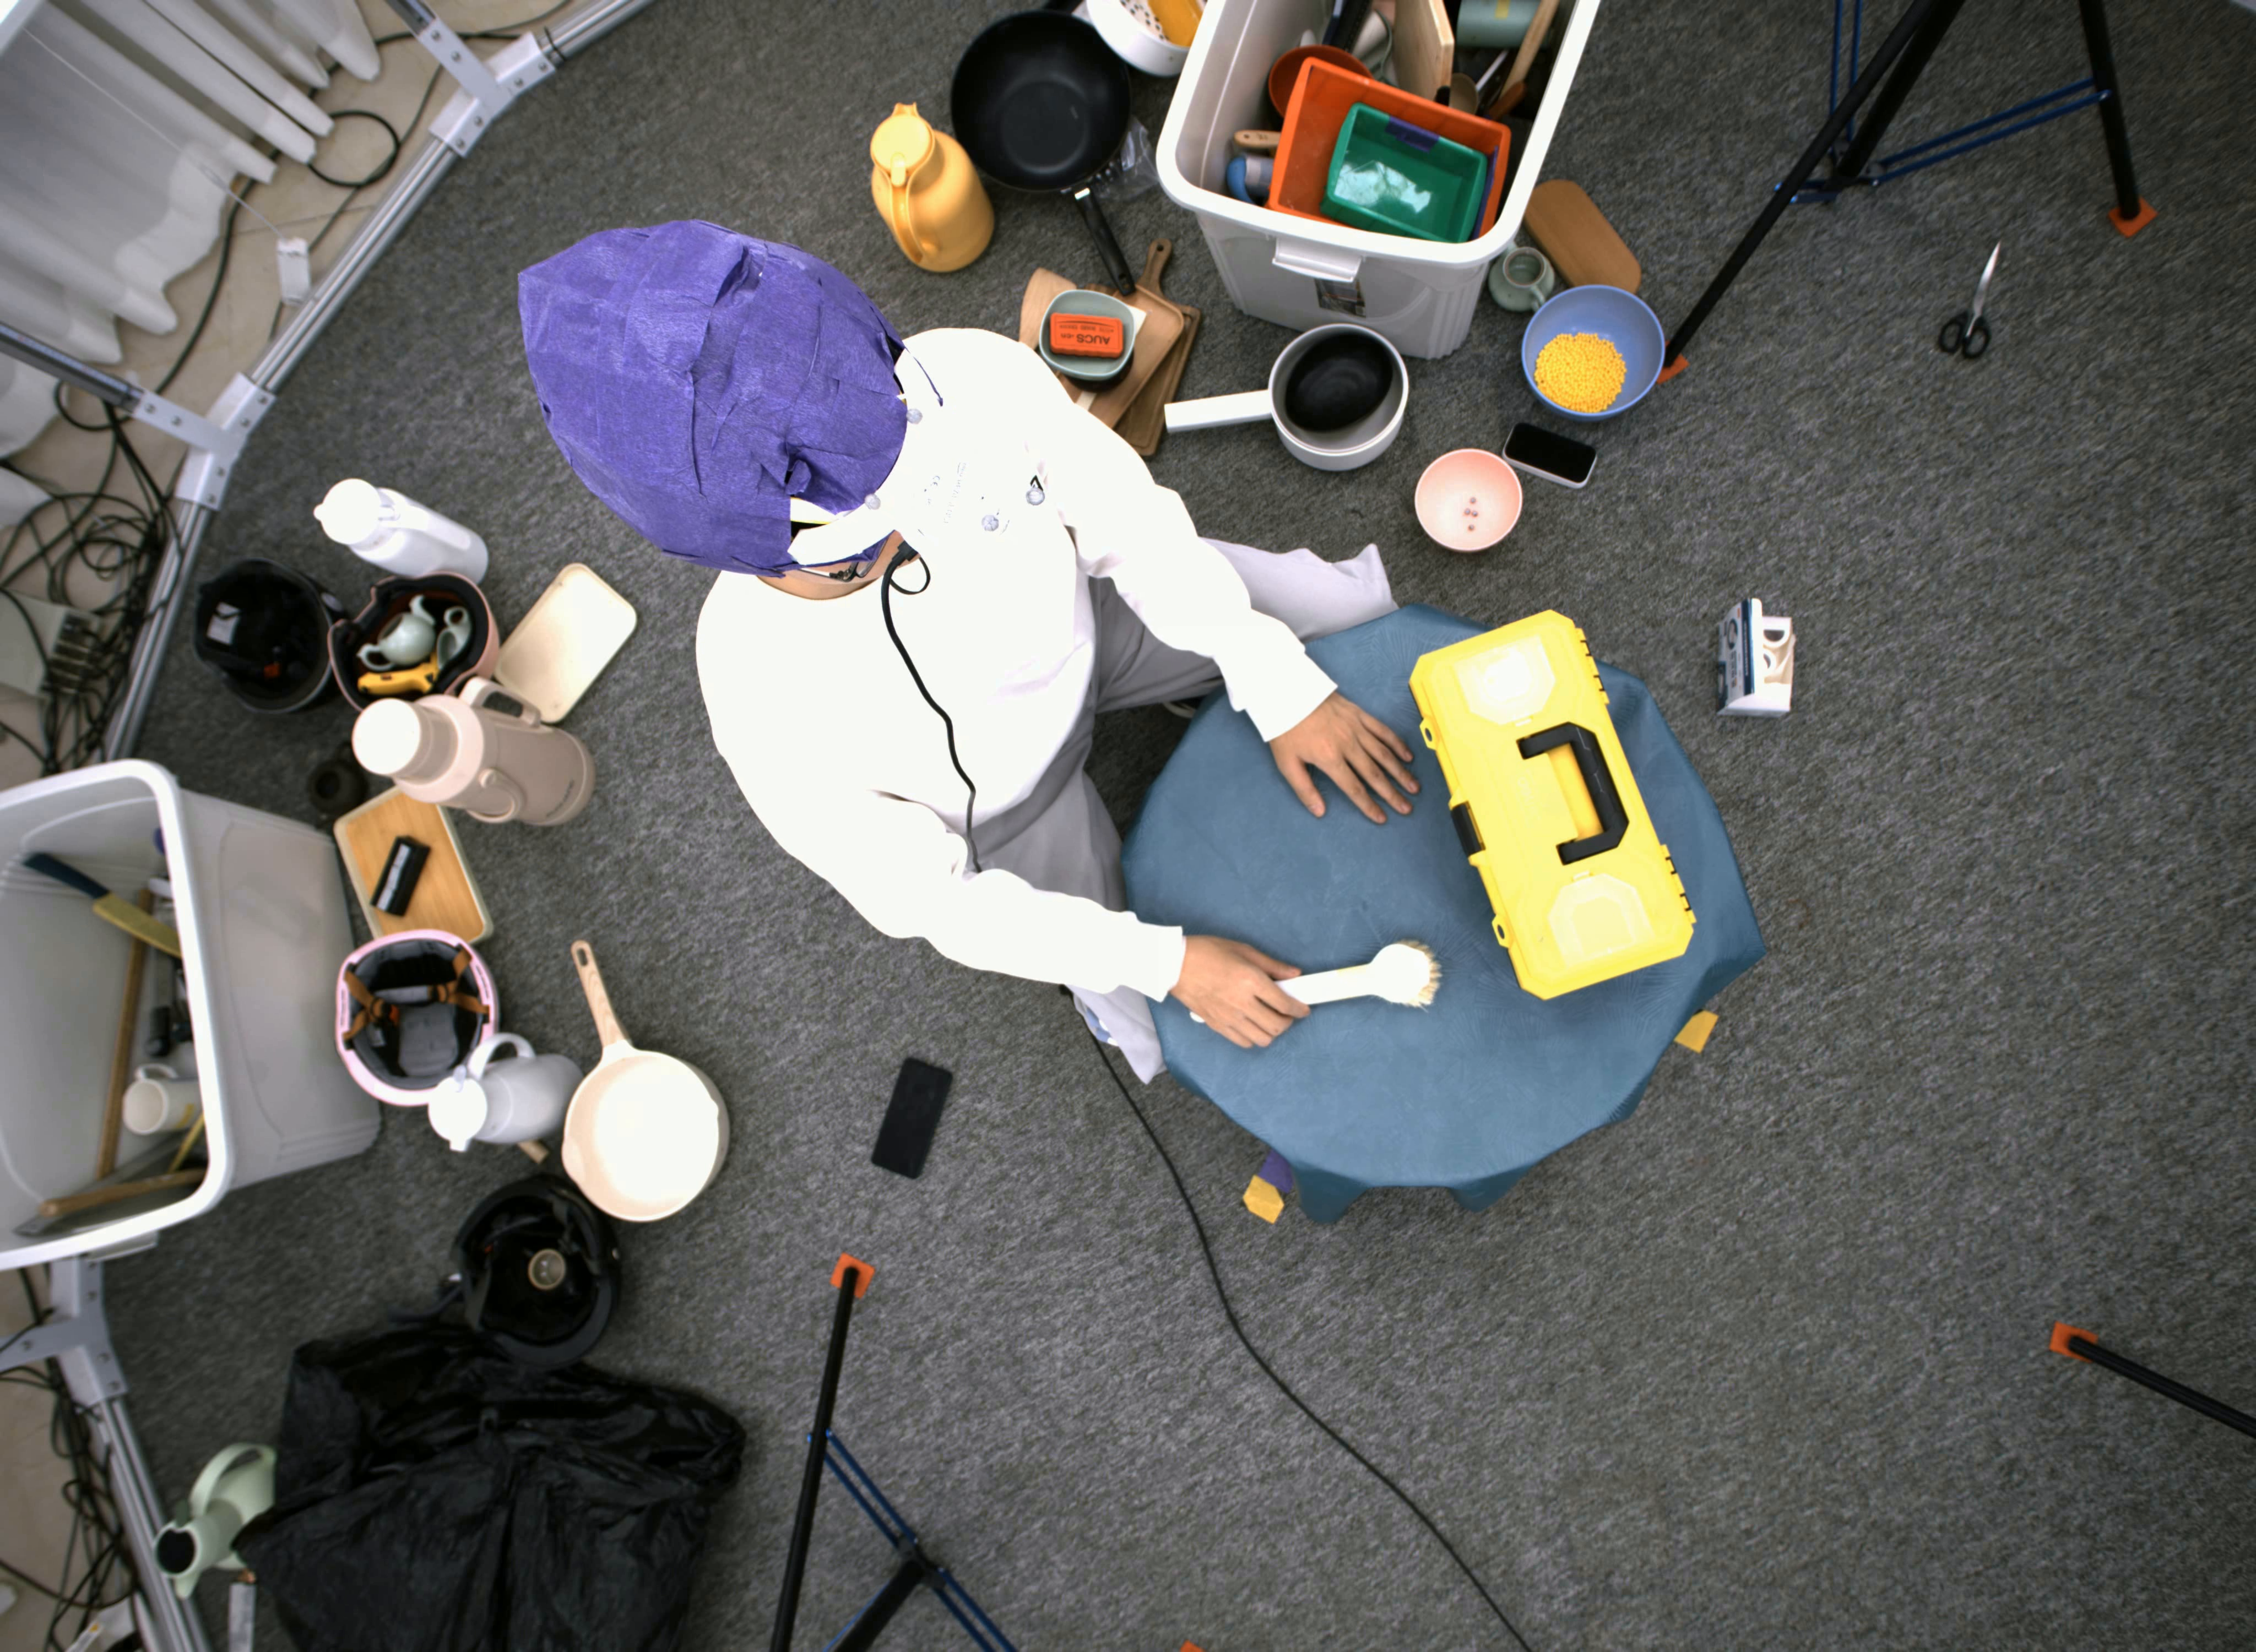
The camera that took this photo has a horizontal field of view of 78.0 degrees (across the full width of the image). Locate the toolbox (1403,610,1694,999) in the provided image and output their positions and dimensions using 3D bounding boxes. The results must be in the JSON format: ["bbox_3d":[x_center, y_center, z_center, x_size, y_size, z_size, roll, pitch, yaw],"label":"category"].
[{"bbox_3d":[0.406,-0.019,1.351,0.182,0.173,0.349,-19,82,7],"label":"toolbox"}]

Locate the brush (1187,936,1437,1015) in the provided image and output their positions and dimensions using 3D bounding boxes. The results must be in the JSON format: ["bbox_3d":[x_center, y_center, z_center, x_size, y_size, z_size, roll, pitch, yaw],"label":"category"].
[{"bbox_3d":[0.194,0.166,1.461,0.269,0.056,0.067,-15,64,24],"label":"brush"}]
